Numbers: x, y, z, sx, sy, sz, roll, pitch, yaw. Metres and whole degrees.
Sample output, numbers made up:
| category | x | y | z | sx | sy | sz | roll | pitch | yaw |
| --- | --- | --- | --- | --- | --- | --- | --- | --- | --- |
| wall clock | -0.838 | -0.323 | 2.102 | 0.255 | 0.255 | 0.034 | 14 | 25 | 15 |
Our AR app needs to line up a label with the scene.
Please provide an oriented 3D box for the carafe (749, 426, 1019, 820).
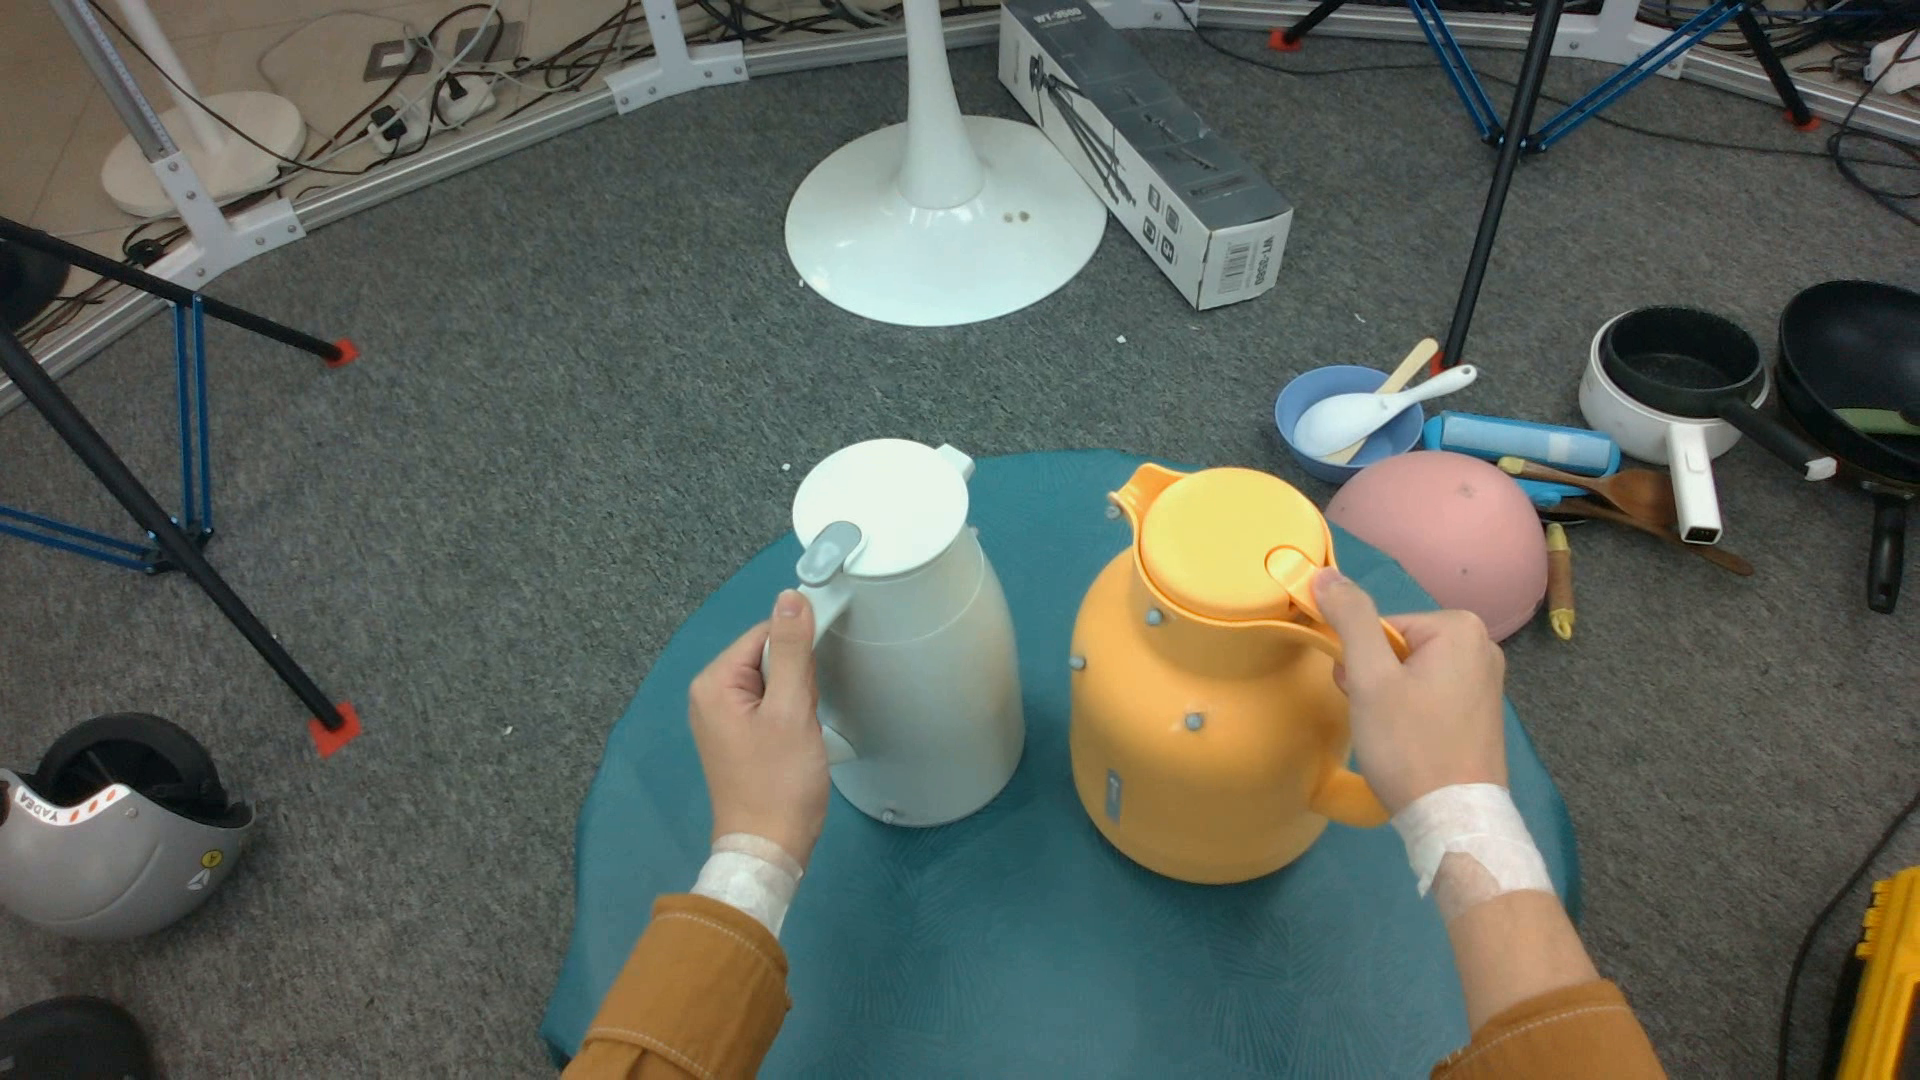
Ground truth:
| category | x | y | z | sx | sy | sz | roll | pitch | yaw |
| --- | --- | --- | --- | --- | --- | --- | --- | --- | --- |
| carafe | -0.048 | 0.059 | 0.789 | 0.132 | 0.247 | 0.168 | 30 | 61 | 25 |

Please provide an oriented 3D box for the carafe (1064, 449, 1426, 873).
| category | x | y | z | sx | sy | sz | roll | pitch | yaw |
| --- | --- | --- | --- | --- | --- | --- | --- | --- | --- |
| carafe | 0.150 | 0.077 | 0.752 | 0.164 | 0.259 | 0.202 | -39 | 57 | -21 |
